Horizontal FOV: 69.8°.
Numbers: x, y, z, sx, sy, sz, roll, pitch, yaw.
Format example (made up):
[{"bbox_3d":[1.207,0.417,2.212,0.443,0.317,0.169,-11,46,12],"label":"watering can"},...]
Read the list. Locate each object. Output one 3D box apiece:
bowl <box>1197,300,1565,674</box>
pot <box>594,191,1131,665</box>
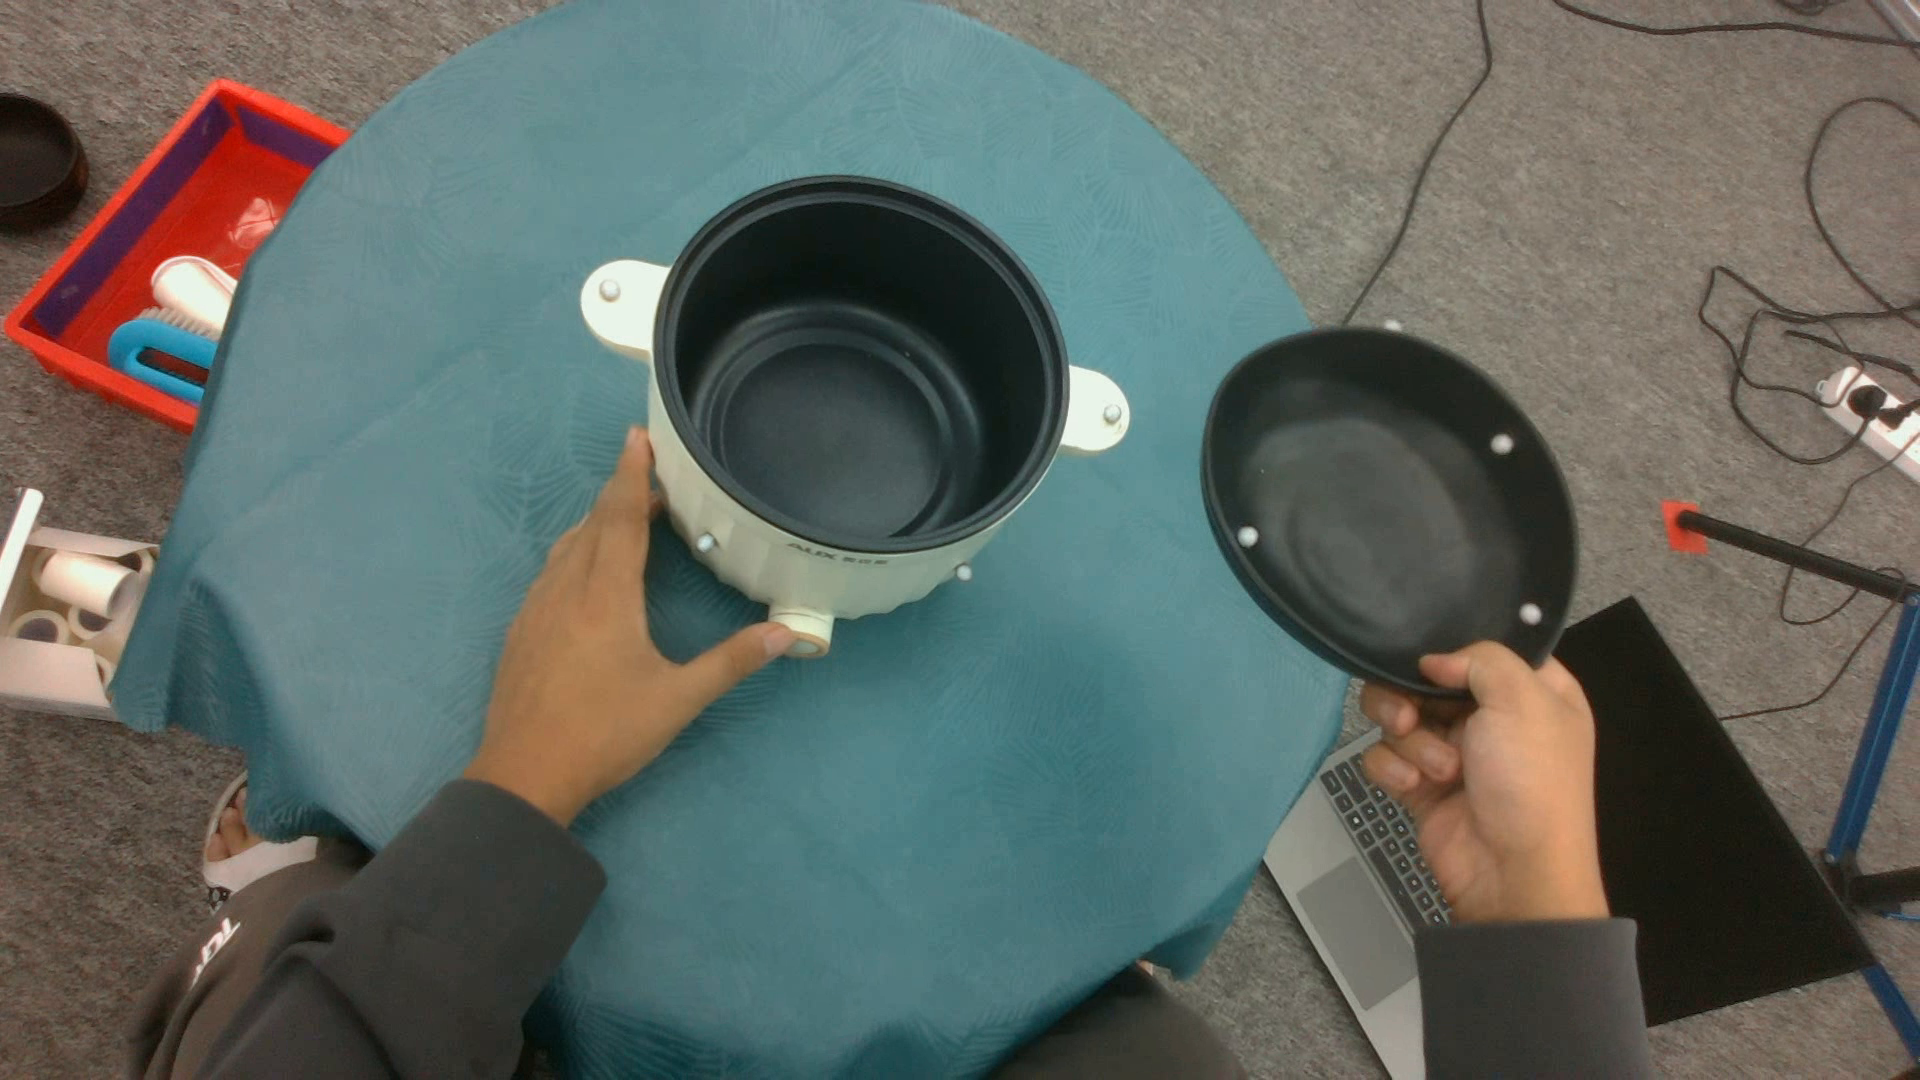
[{"bbox_3d":[0.171,-0.018,0.580,0.137,0.066,0.170,-40,79,-13],"label":"bowl"},{"bbox_3d":[-0.051,-0.047,0.660,0.240,0.142,0.191,7,63,-10],"label":"pot"}]
